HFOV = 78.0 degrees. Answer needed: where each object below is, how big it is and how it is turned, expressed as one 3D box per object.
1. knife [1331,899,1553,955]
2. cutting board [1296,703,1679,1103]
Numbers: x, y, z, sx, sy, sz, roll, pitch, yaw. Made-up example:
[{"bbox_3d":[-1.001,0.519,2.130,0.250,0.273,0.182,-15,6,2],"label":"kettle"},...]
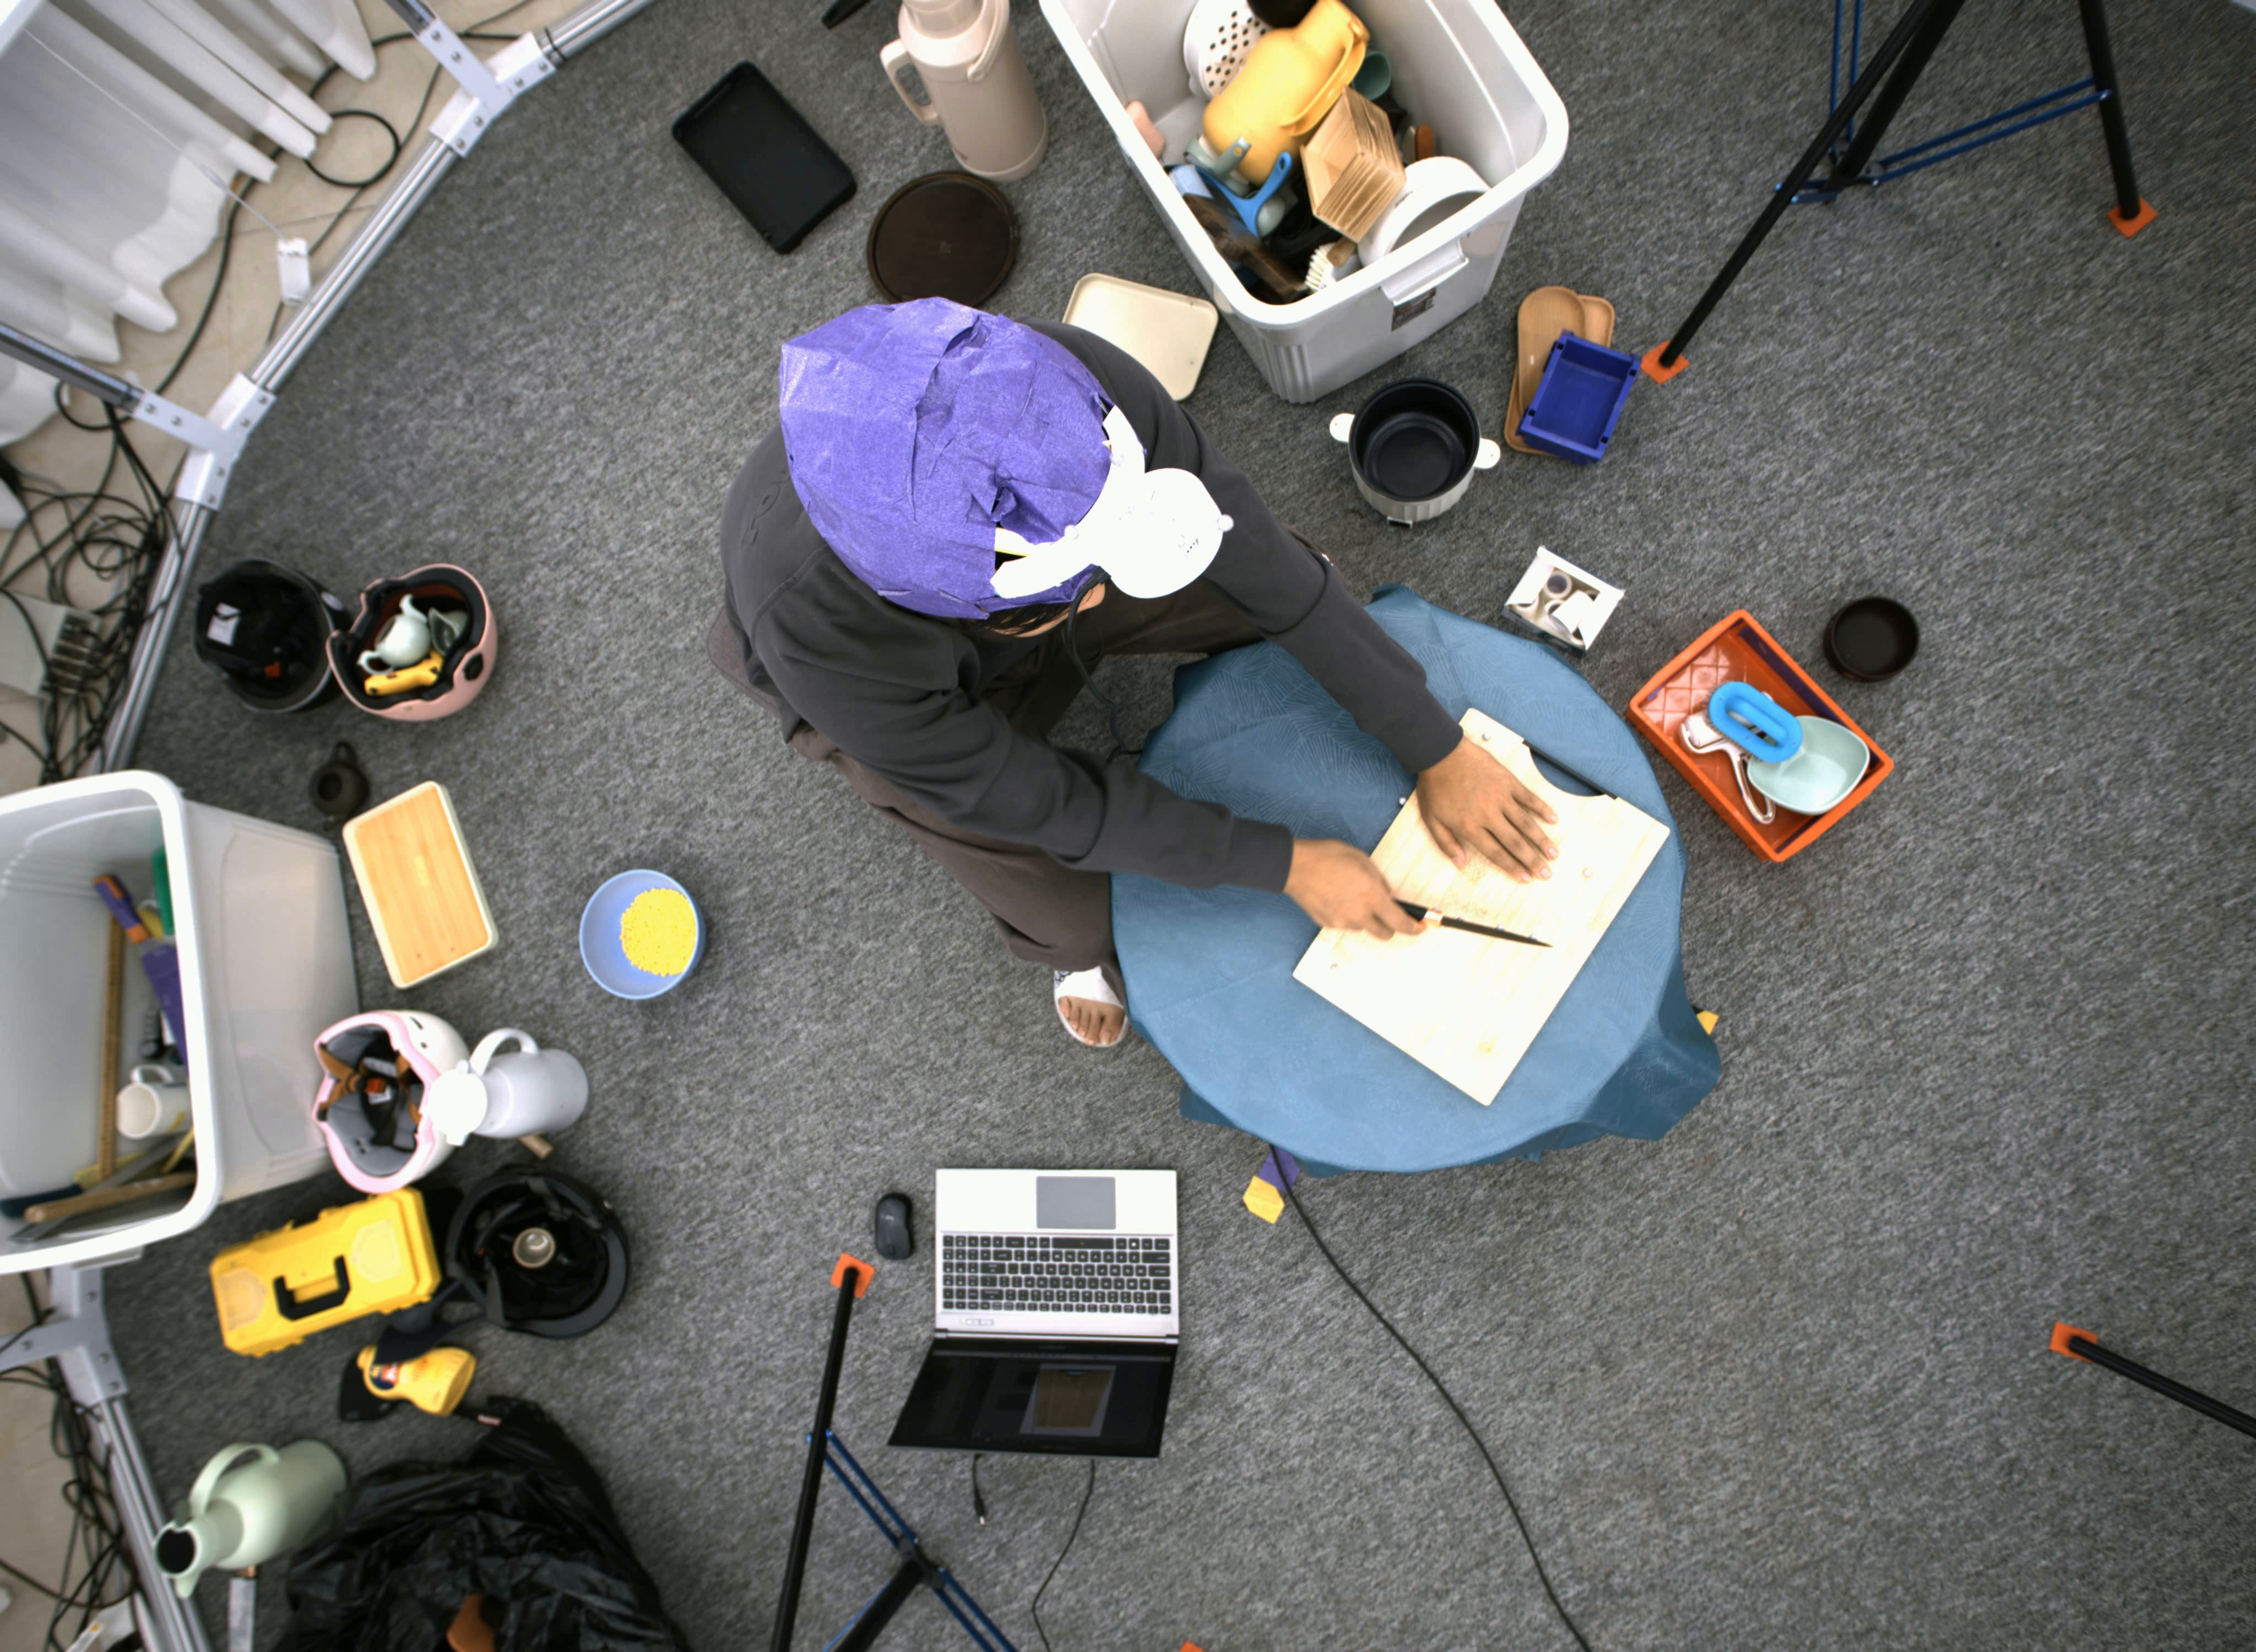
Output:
[{"bbox_3d":[0.315,0.101,1.392,0.226,0.027,0.017,11,60,15],"label":"knife"},{"bbox_3d":[0.369,0.075,1.433,0.250,0.023,0.349,33,93,11],"label":"cutting board"}]
